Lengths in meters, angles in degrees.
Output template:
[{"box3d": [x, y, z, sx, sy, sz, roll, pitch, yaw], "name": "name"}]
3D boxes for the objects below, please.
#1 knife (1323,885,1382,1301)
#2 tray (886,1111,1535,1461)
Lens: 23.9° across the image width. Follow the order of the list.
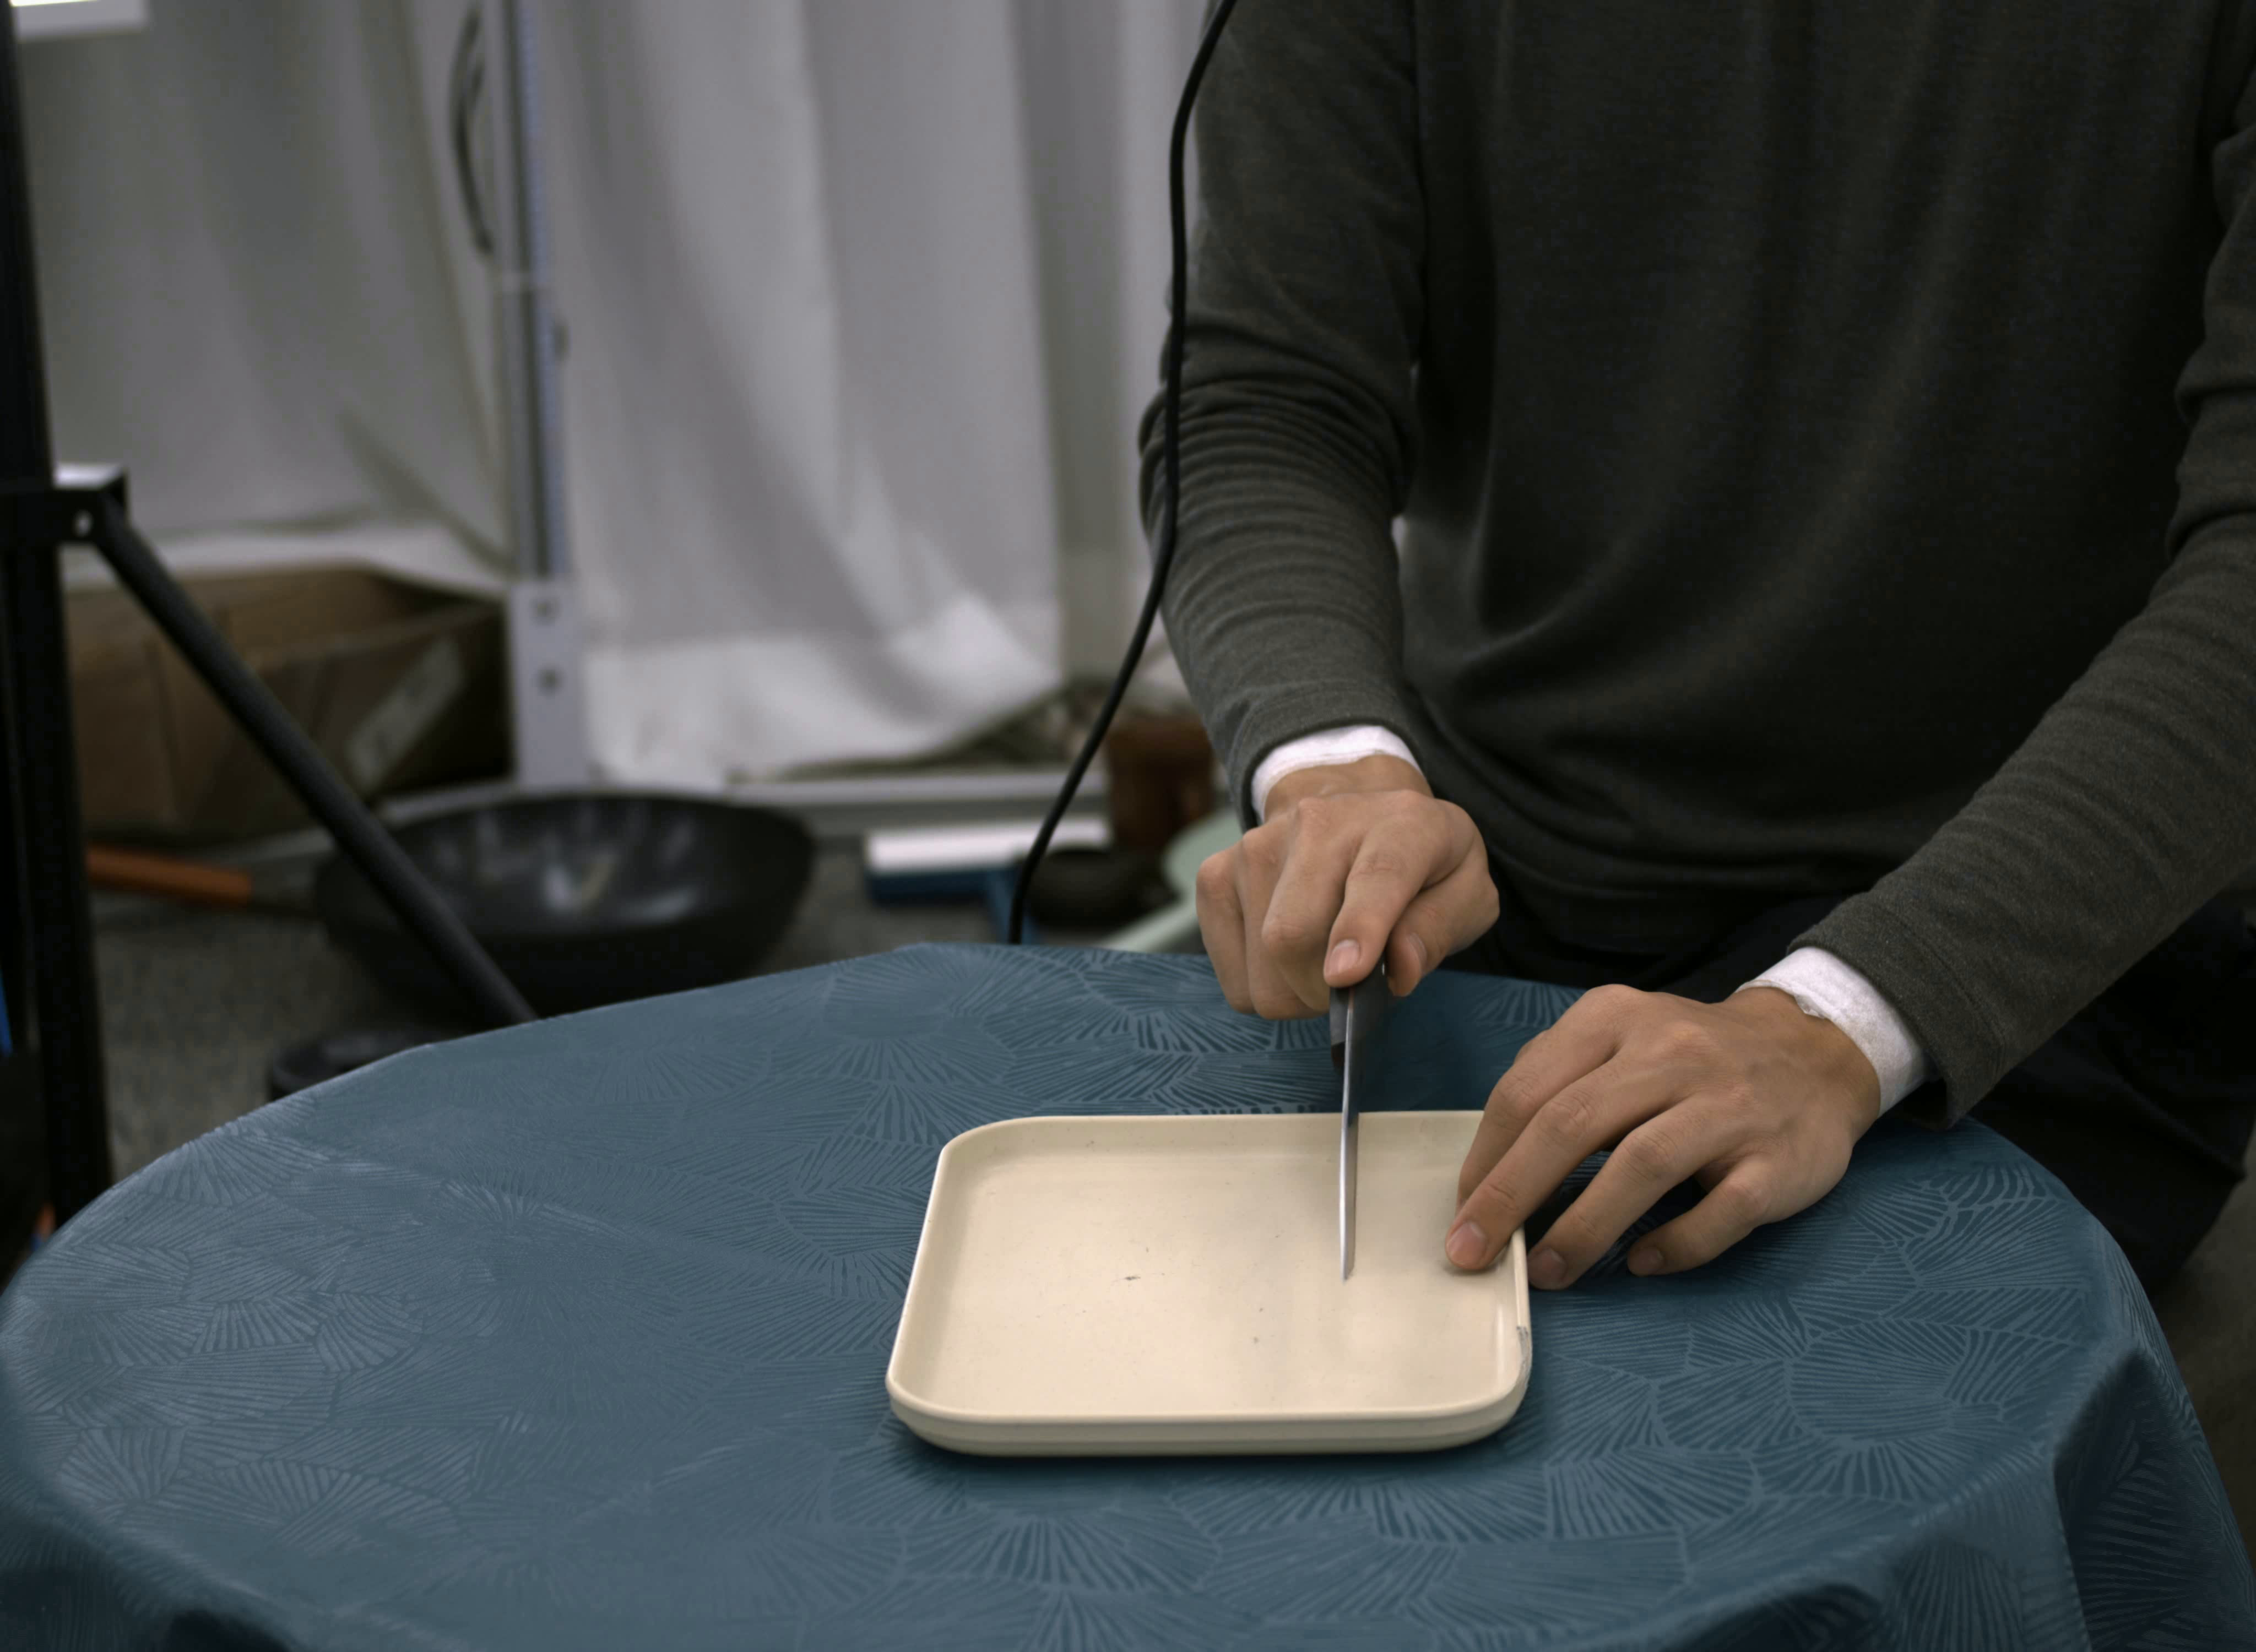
[{"box3d": [0.063, 0.071, 1.484, 0.016, 0.024, 0.239, -8, 24, 7], "name": "knife"}, {"box3d": [0.025, 0.126, 1.464, 0.171, 0.017, 0.240, -2, 16, 4], "name": "tray"}]
